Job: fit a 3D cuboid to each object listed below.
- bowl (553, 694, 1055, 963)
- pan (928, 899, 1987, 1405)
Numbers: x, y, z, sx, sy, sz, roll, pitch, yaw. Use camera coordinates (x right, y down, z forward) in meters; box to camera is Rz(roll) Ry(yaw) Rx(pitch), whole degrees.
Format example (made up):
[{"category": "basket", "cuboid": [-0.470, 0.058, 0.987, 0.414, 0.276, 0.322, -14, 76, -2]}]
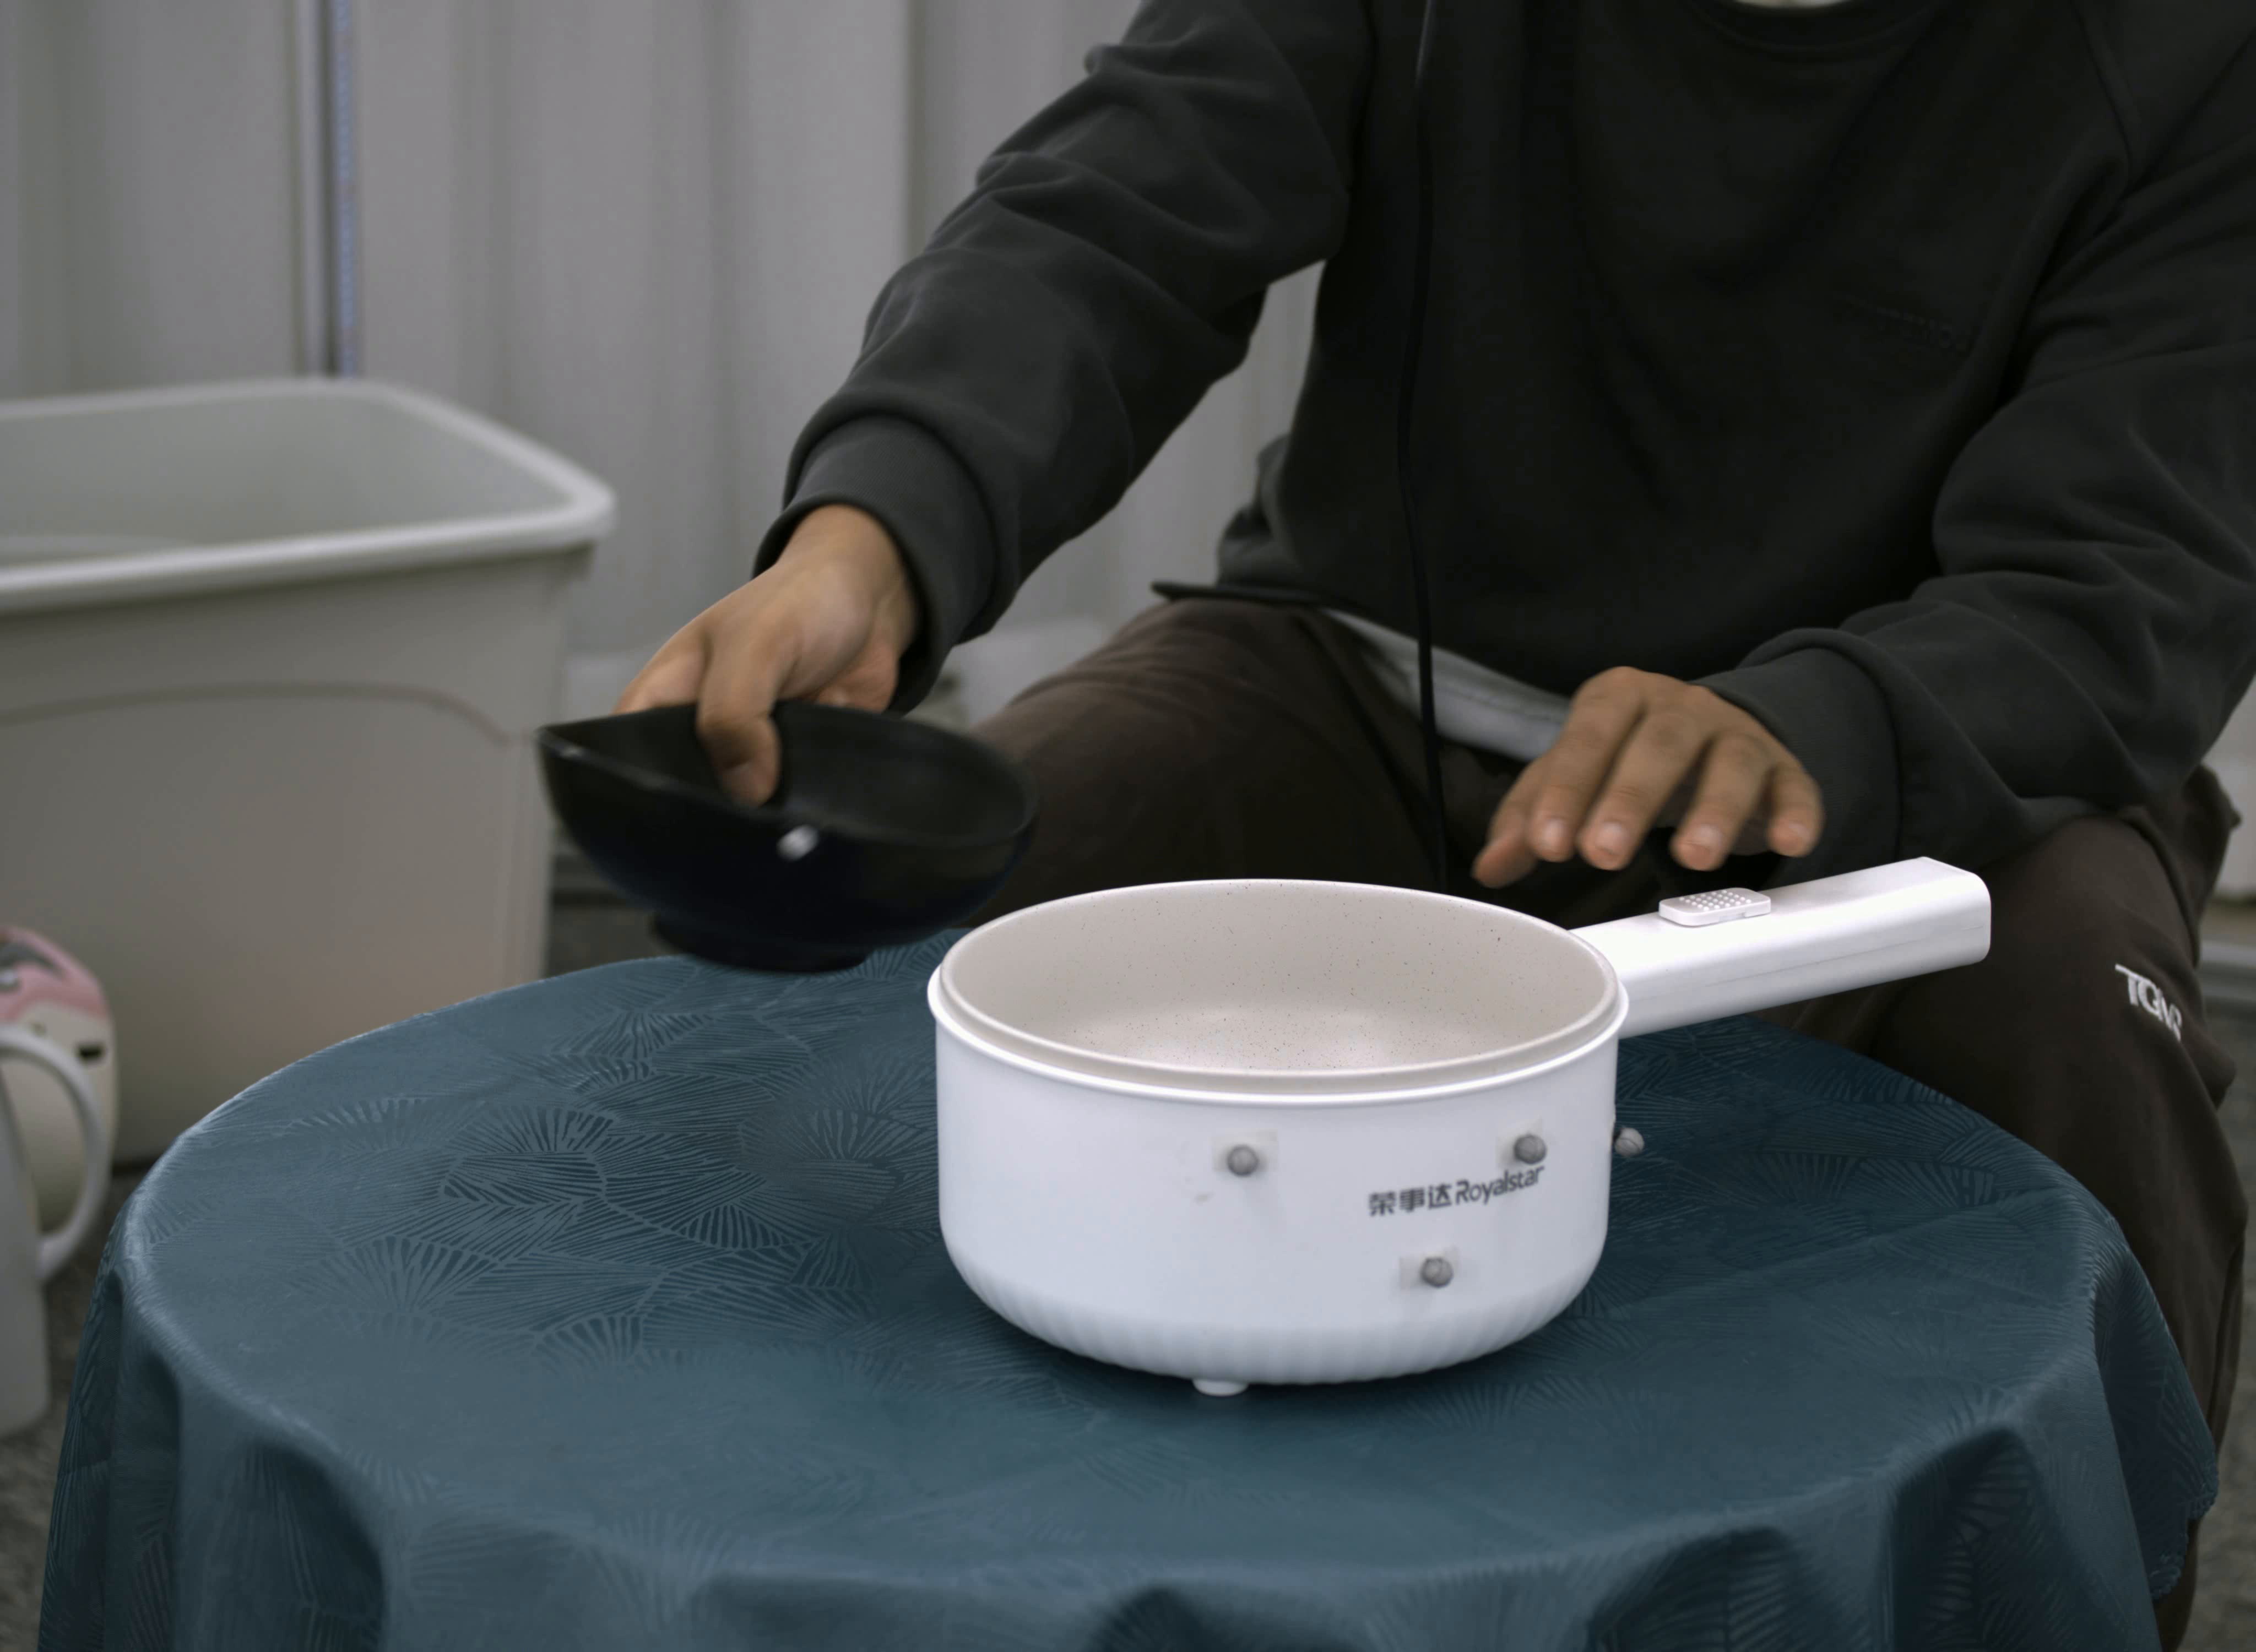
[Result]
[{"category": "bowl", "cuboid": [-0.103, 0.002, 1.601, 0.168, 0.067, 0.138, 16, 16, 35]}, {"category": "pan", "cuboid": [0.107, 0.088, 1.563, 0.356, 0.103, 0.199, -7, 13, -33]}]
